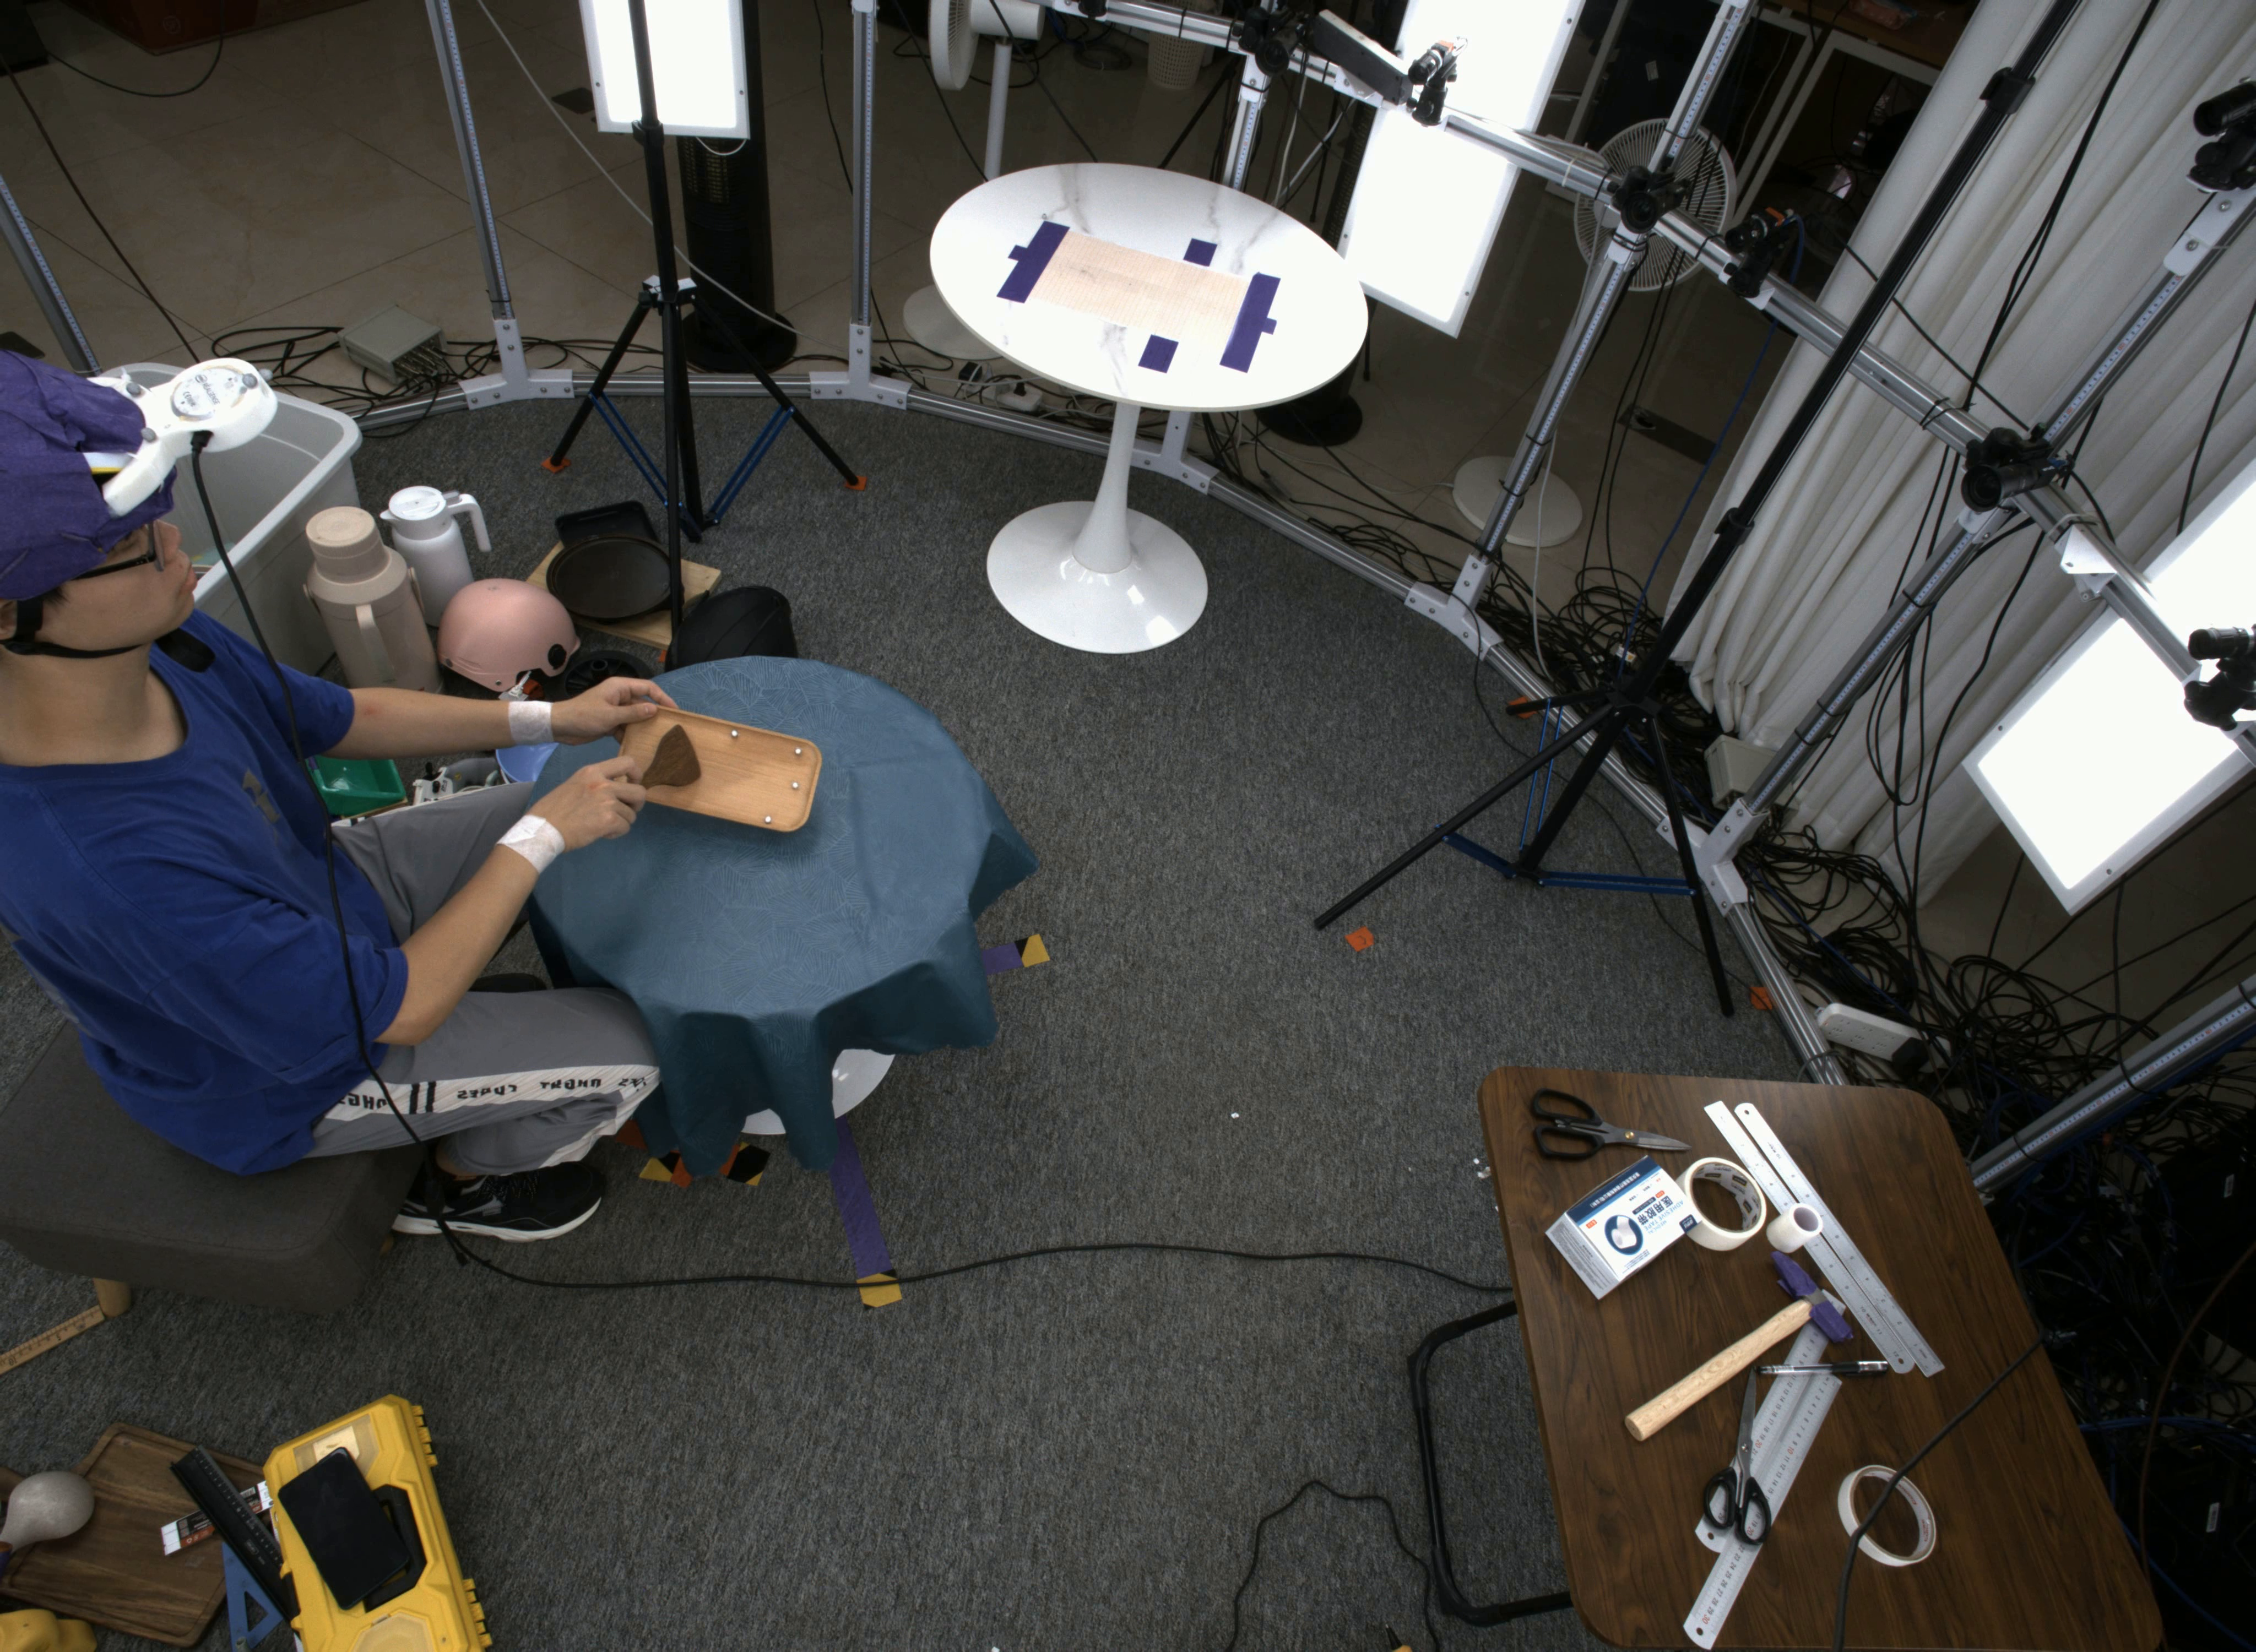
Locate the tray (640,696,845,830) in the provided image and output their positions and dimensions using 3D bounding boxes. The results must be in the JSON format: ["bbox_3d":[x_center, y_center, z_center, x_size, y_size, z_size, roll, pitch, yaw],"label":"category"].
[{"bbox_3d":[-0.501,-0.082,1.678,0.251,0.023,0.130,15,74,-11],"label":"tray"}]

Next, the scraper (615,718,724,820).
[{"bbox_3d":[-0.561,-0.064,1.572,0.010,0.078,0.210,-6,24,23],"label":"scraper"}]
